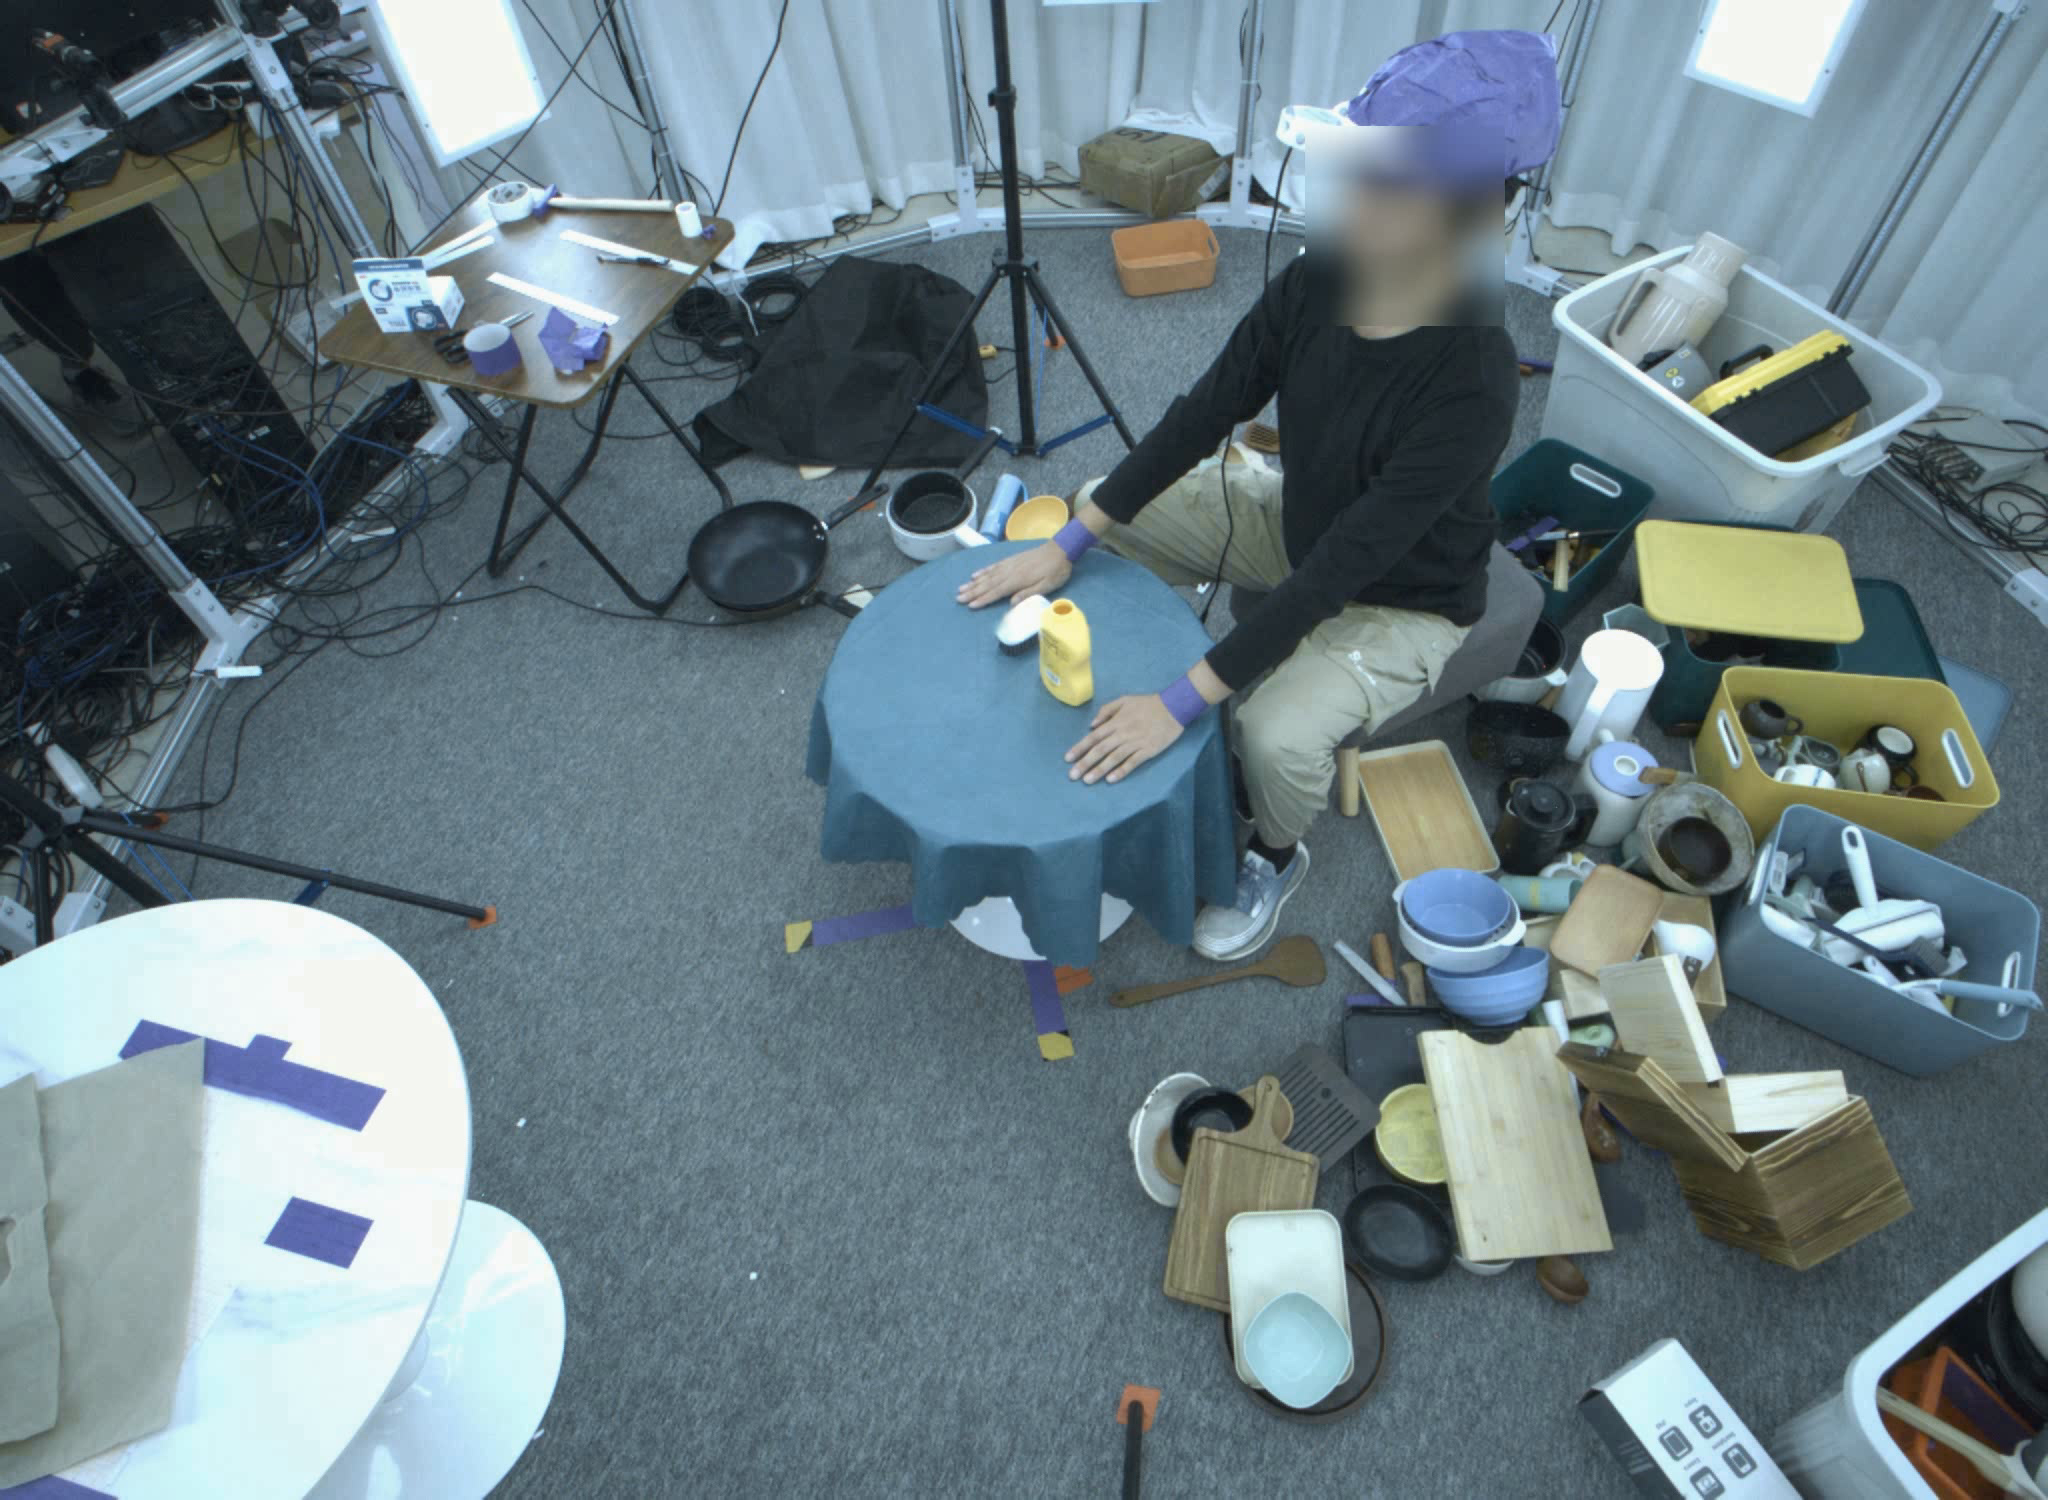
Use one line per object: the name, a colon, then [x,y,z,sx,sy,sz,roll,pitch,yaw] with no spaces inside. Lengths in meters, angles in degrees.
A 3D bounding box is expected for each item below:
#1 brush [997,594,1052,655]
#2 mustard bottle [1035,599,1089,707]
brush: [0.000,-0.200,1.886,0.100,0.073,0.049,-36,61,-19]
mustard bottle: [0.054,-0.148,1.790,0.060,0.173,0.096,-35,59,-24]
